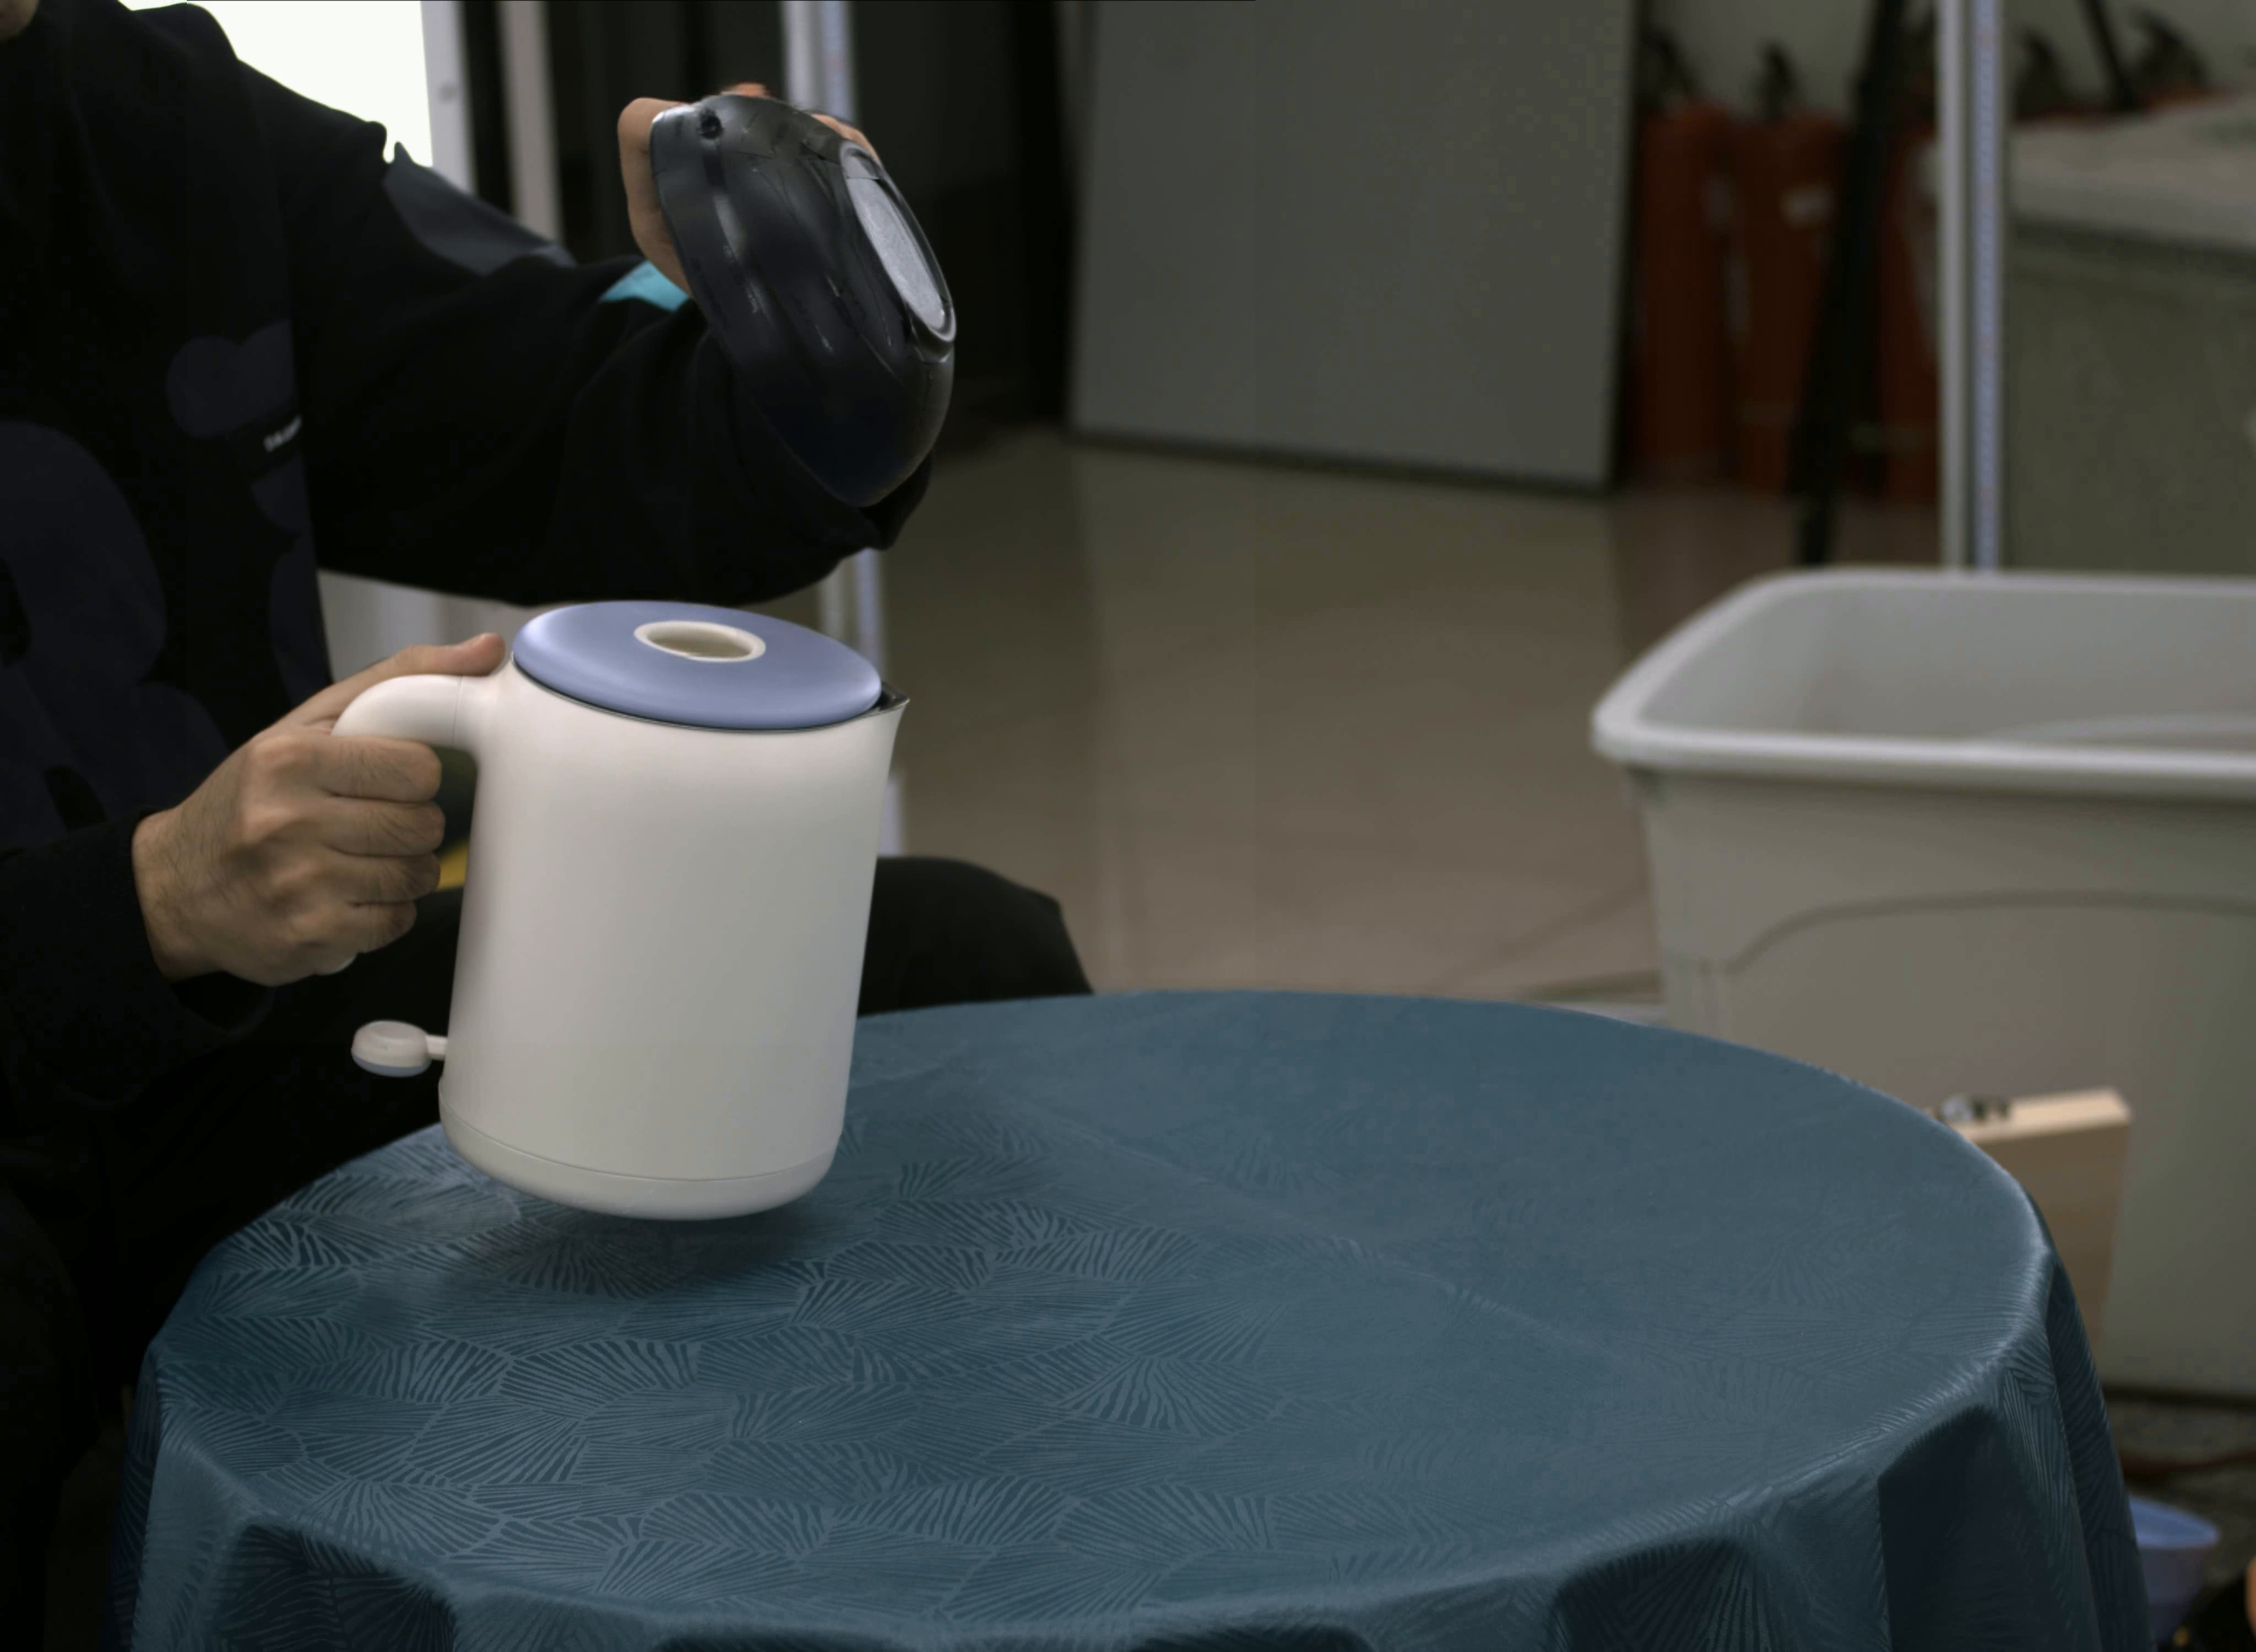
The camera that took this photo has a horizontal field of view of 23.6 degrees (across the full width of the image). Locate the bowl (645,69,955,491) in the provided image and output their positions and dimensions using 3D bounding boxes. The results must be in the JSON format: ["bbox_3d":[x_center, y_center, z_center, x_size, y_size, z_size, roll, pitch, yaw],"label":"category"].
[{"bbox_3d":[-0.091,-0.177,1.669,0.050,0.140,0.139,-27,7,15],"label":"bowl"}]

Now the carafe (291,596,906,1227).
[{"bbox_3d":[-0.170,0.025,1.723,0.188,0.185,0.133,3,15,-5],"label":"carafe"}]
